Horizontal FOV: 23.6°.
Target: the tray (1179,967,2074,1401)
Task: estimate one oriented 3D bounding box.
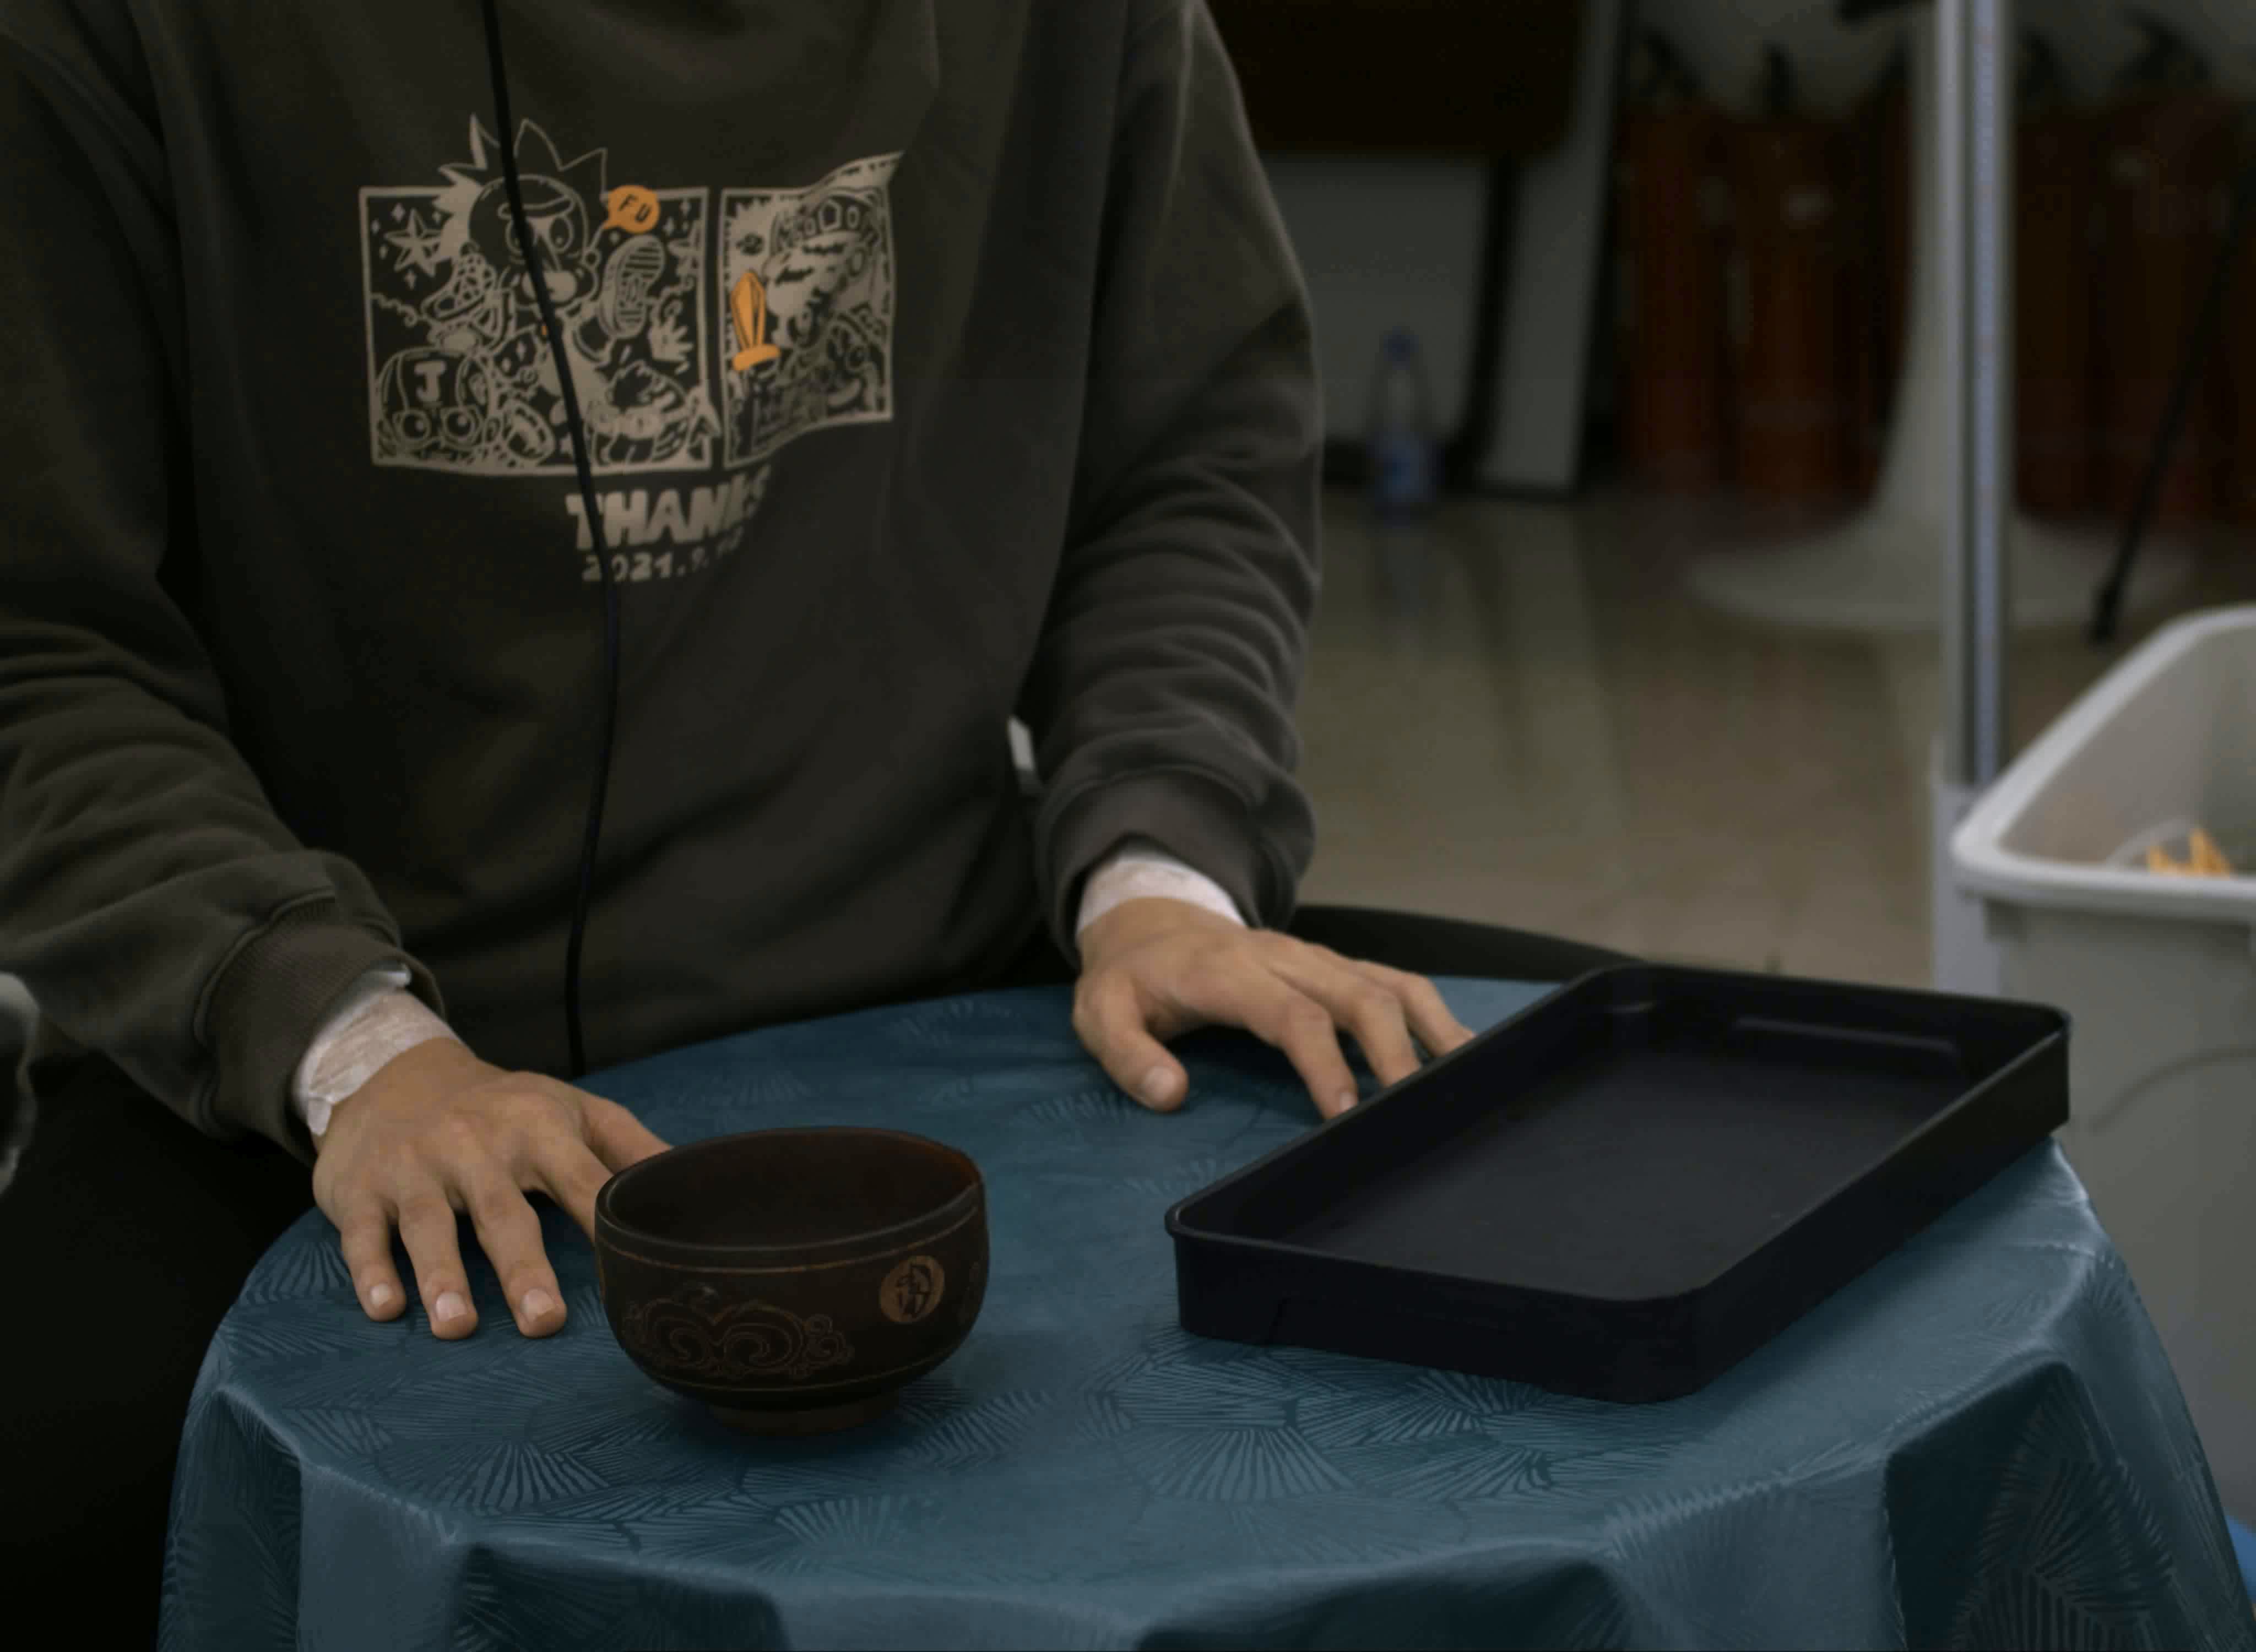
[{"bbox_3d":[0.166,0.108,1.711,0.185,0.037,0.313,4,16,31],"label":"tray"}]

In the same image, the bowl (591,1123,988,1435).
[{"bbox_3d":[-0.098,0.137,1.588,0.116,0.070,0.118,-5,12,0],"label":"bowl"}]
